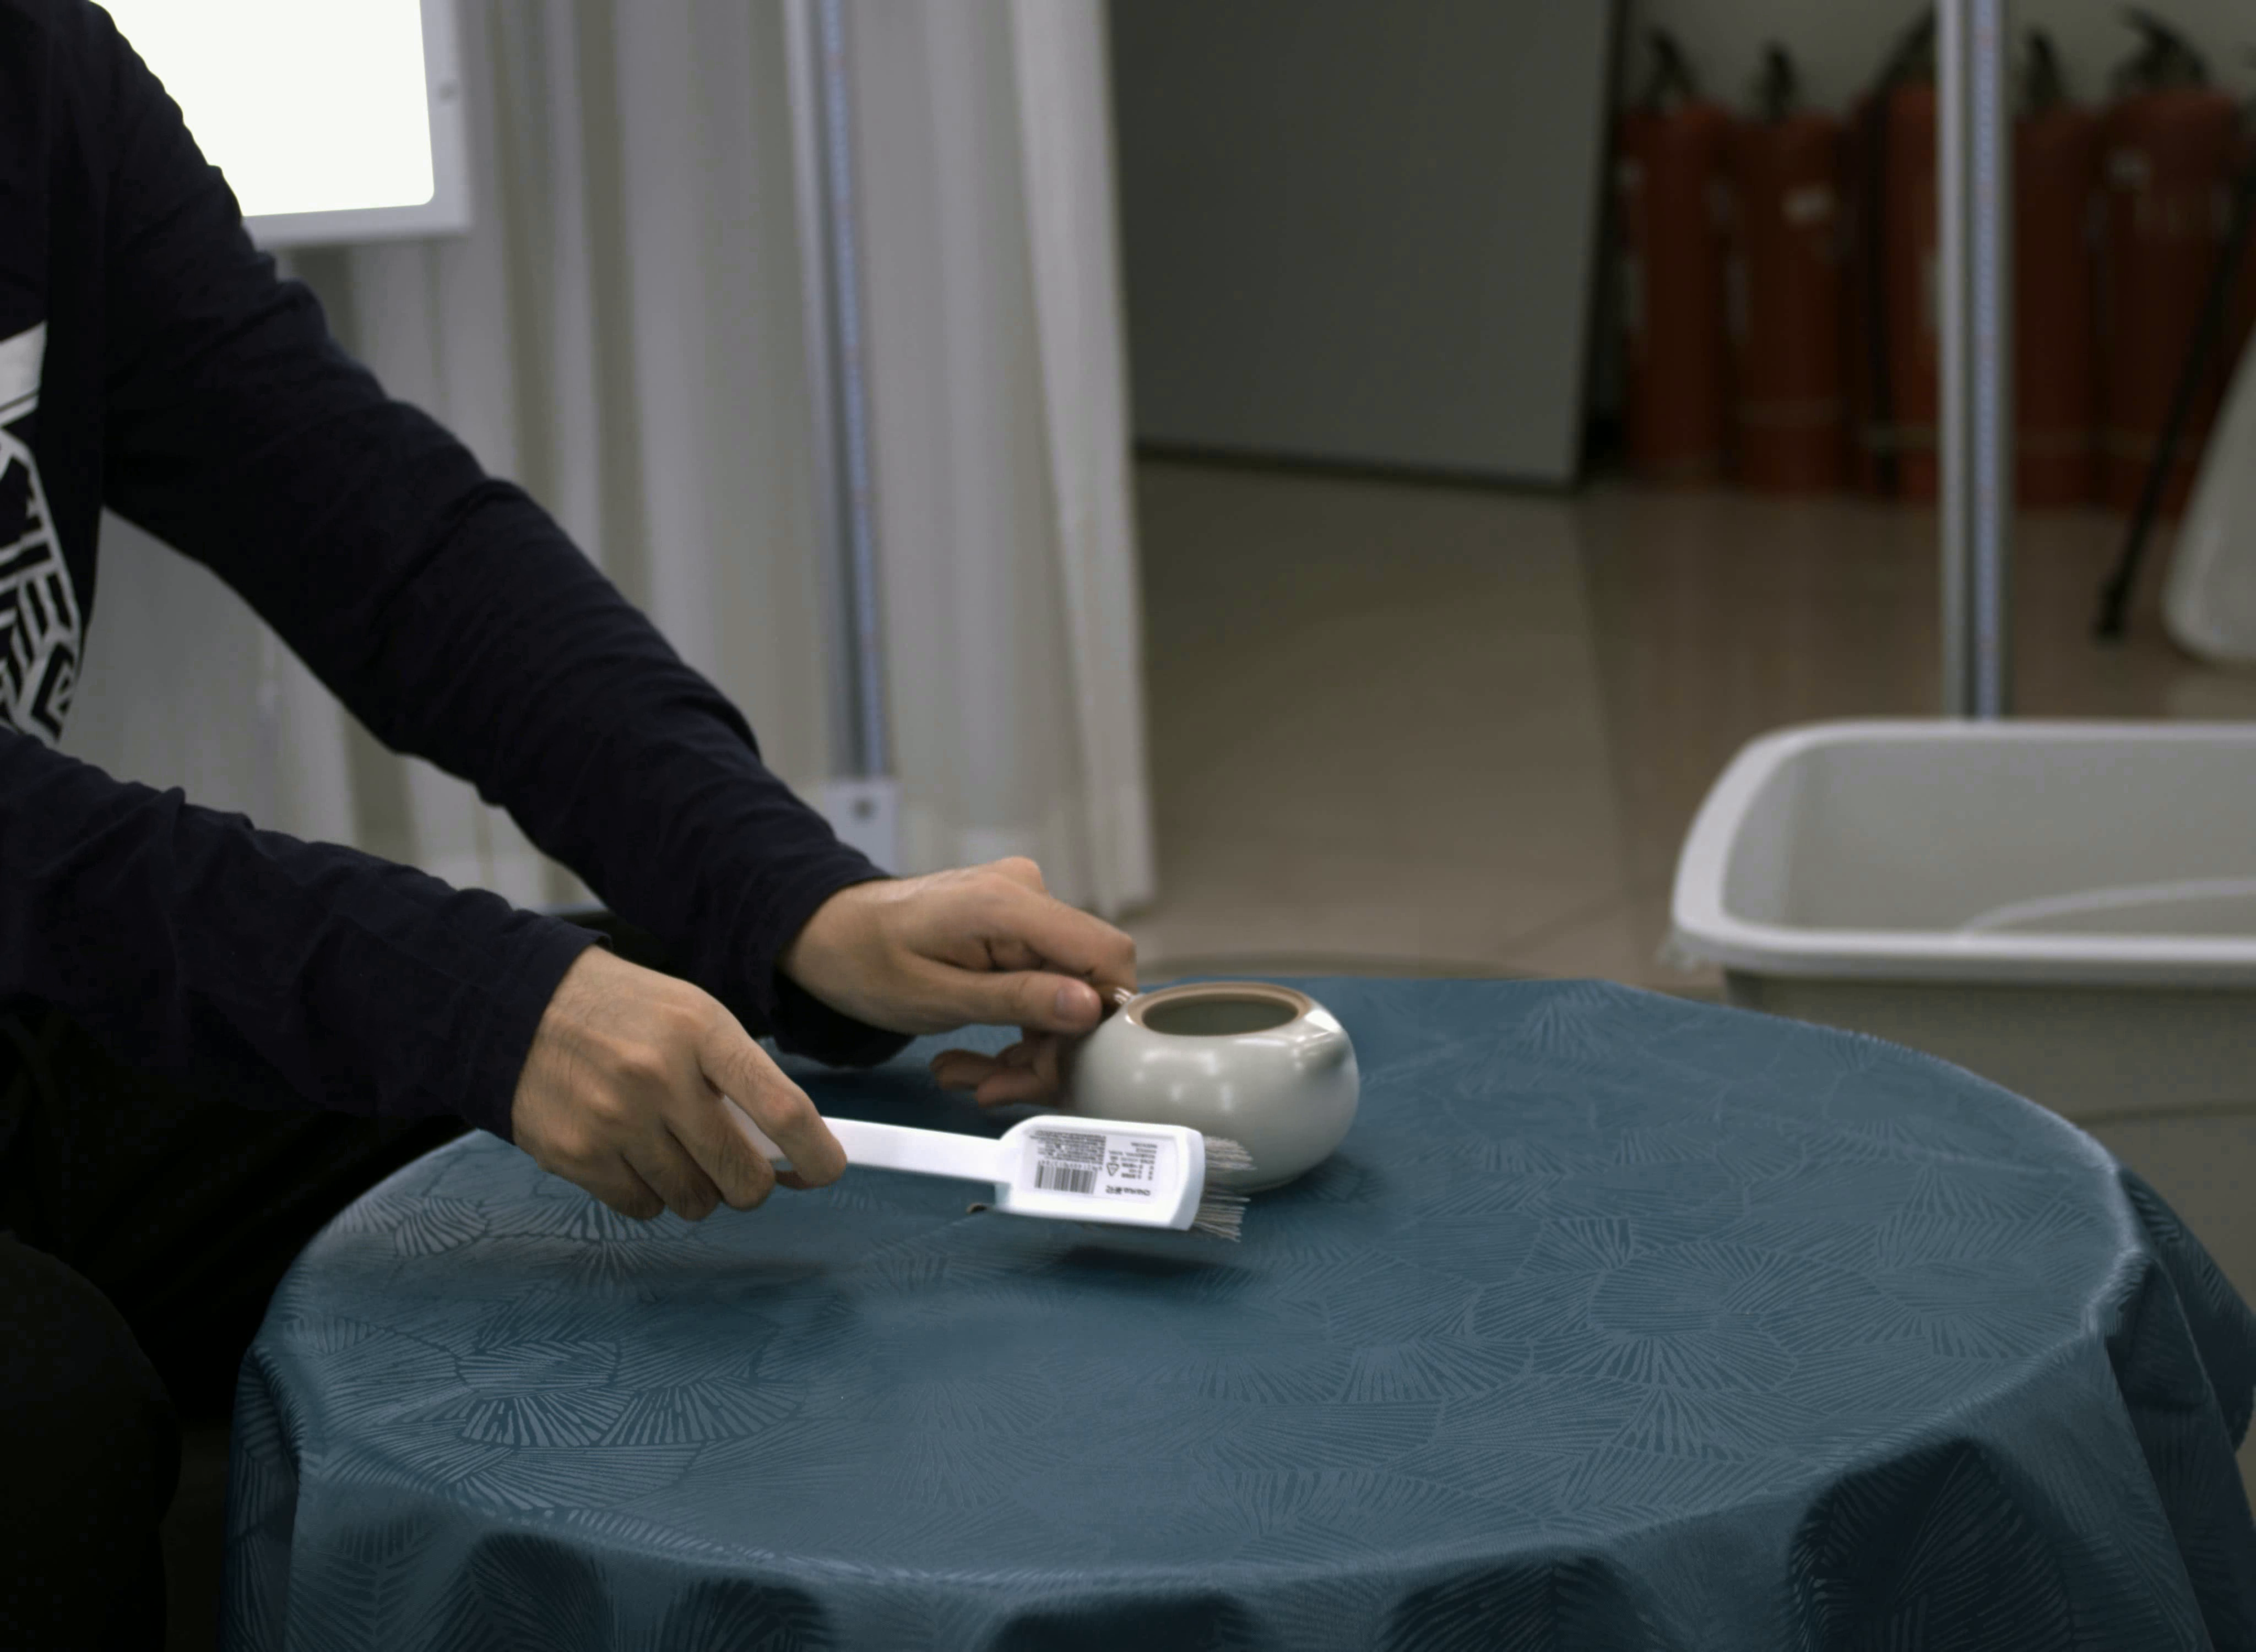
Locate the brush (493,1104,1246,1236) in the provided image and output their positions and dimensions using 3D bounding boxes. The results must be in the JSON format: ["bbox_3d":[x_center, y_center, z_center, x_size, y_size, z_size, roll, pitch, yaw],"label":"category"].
[{"bbox_3d":[-0.082,0.108,1.719,0.242,0.035,0.050,2,-8,14],"label":"brush"}]

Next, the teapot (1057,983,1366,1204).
[{"bbox_3d":[0.026,0.087,1.787,0.129,0.060,0.090,10,22,39],"label":"teapot"}]
